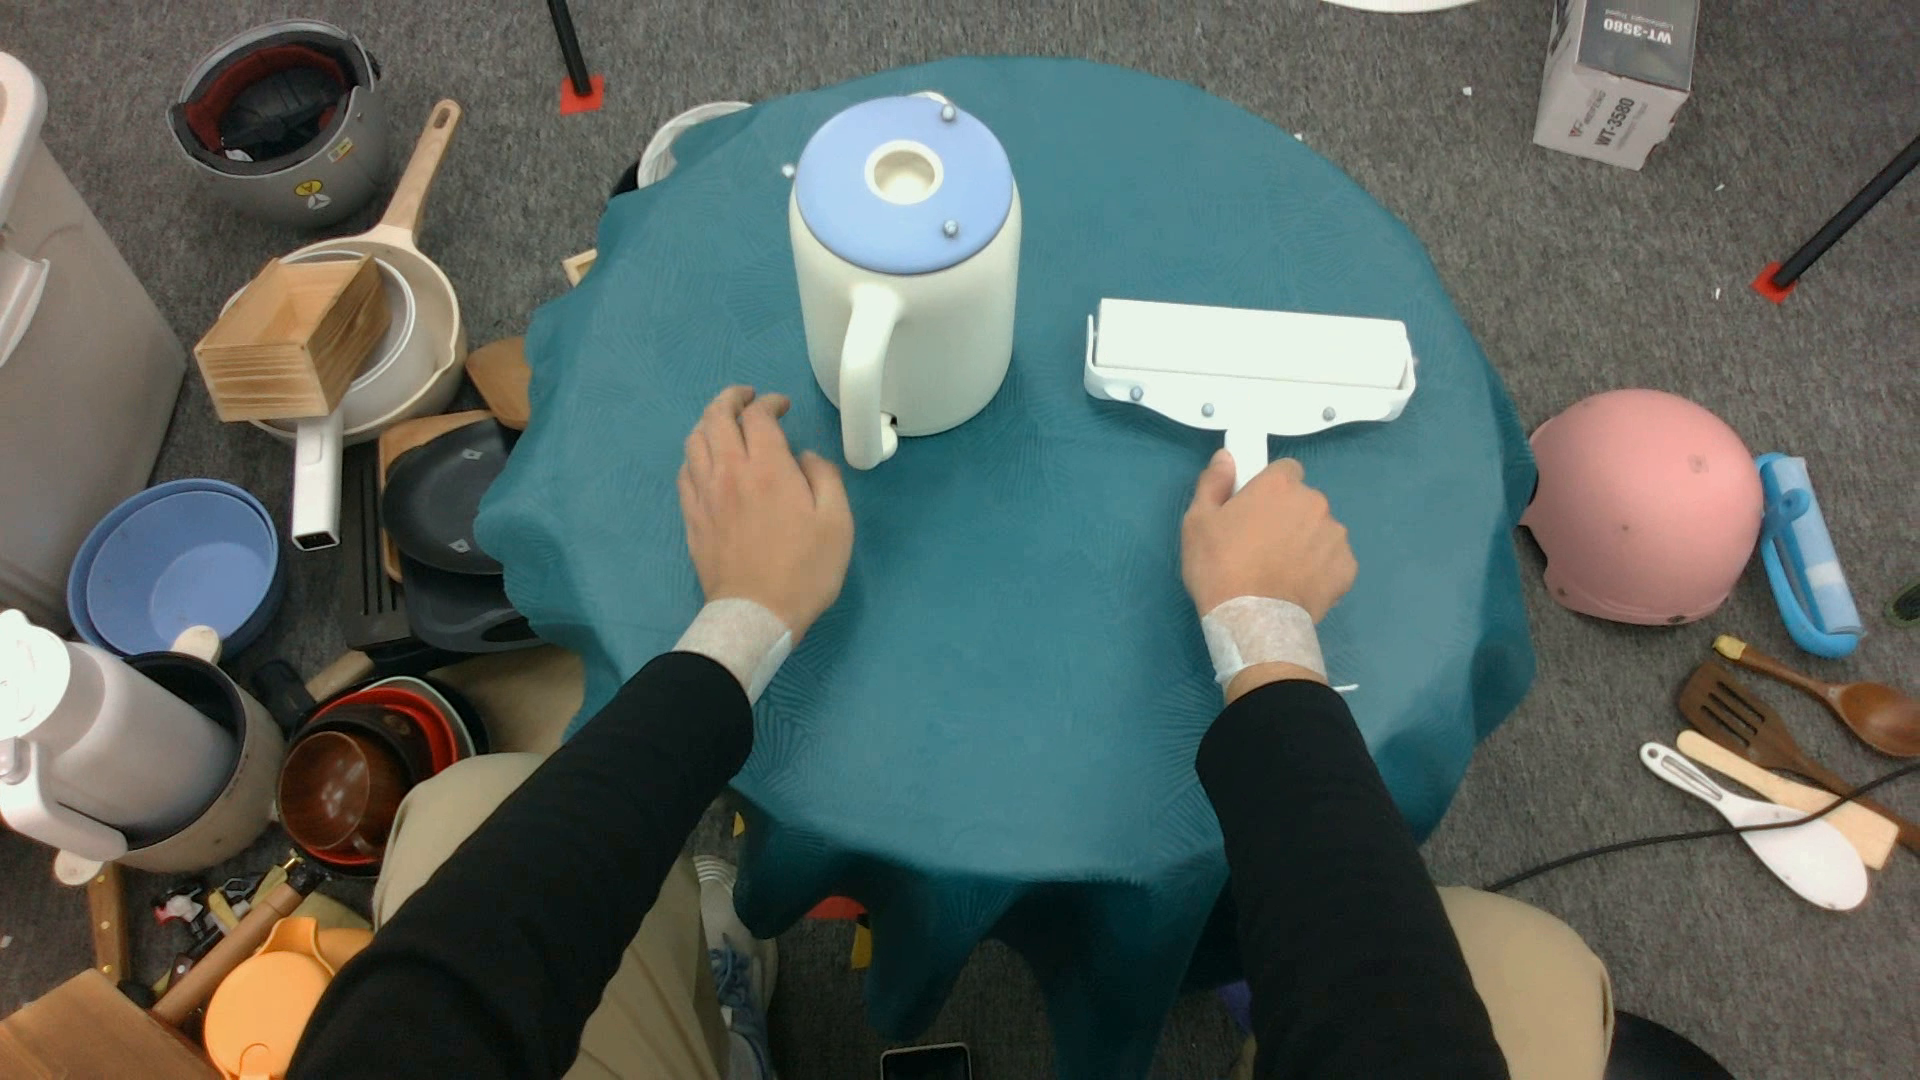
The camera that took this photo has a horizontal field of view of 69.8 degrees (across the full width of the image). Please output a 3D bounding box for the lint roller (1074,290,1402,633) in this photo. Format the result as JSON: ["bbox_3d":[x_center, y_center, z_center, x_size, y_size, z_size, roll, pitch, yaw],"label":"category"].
[{"bbox_3d":[0.169,-0.052,0.832,0.203,0.048,0.226,5,61,0],"label":"lint roller"}]

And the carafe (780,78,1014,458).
[{"bbox_3d":[-0.041,-0.144,0.808,0.132,0.182,0.192,10,67,4],"label":"carafe"}]
